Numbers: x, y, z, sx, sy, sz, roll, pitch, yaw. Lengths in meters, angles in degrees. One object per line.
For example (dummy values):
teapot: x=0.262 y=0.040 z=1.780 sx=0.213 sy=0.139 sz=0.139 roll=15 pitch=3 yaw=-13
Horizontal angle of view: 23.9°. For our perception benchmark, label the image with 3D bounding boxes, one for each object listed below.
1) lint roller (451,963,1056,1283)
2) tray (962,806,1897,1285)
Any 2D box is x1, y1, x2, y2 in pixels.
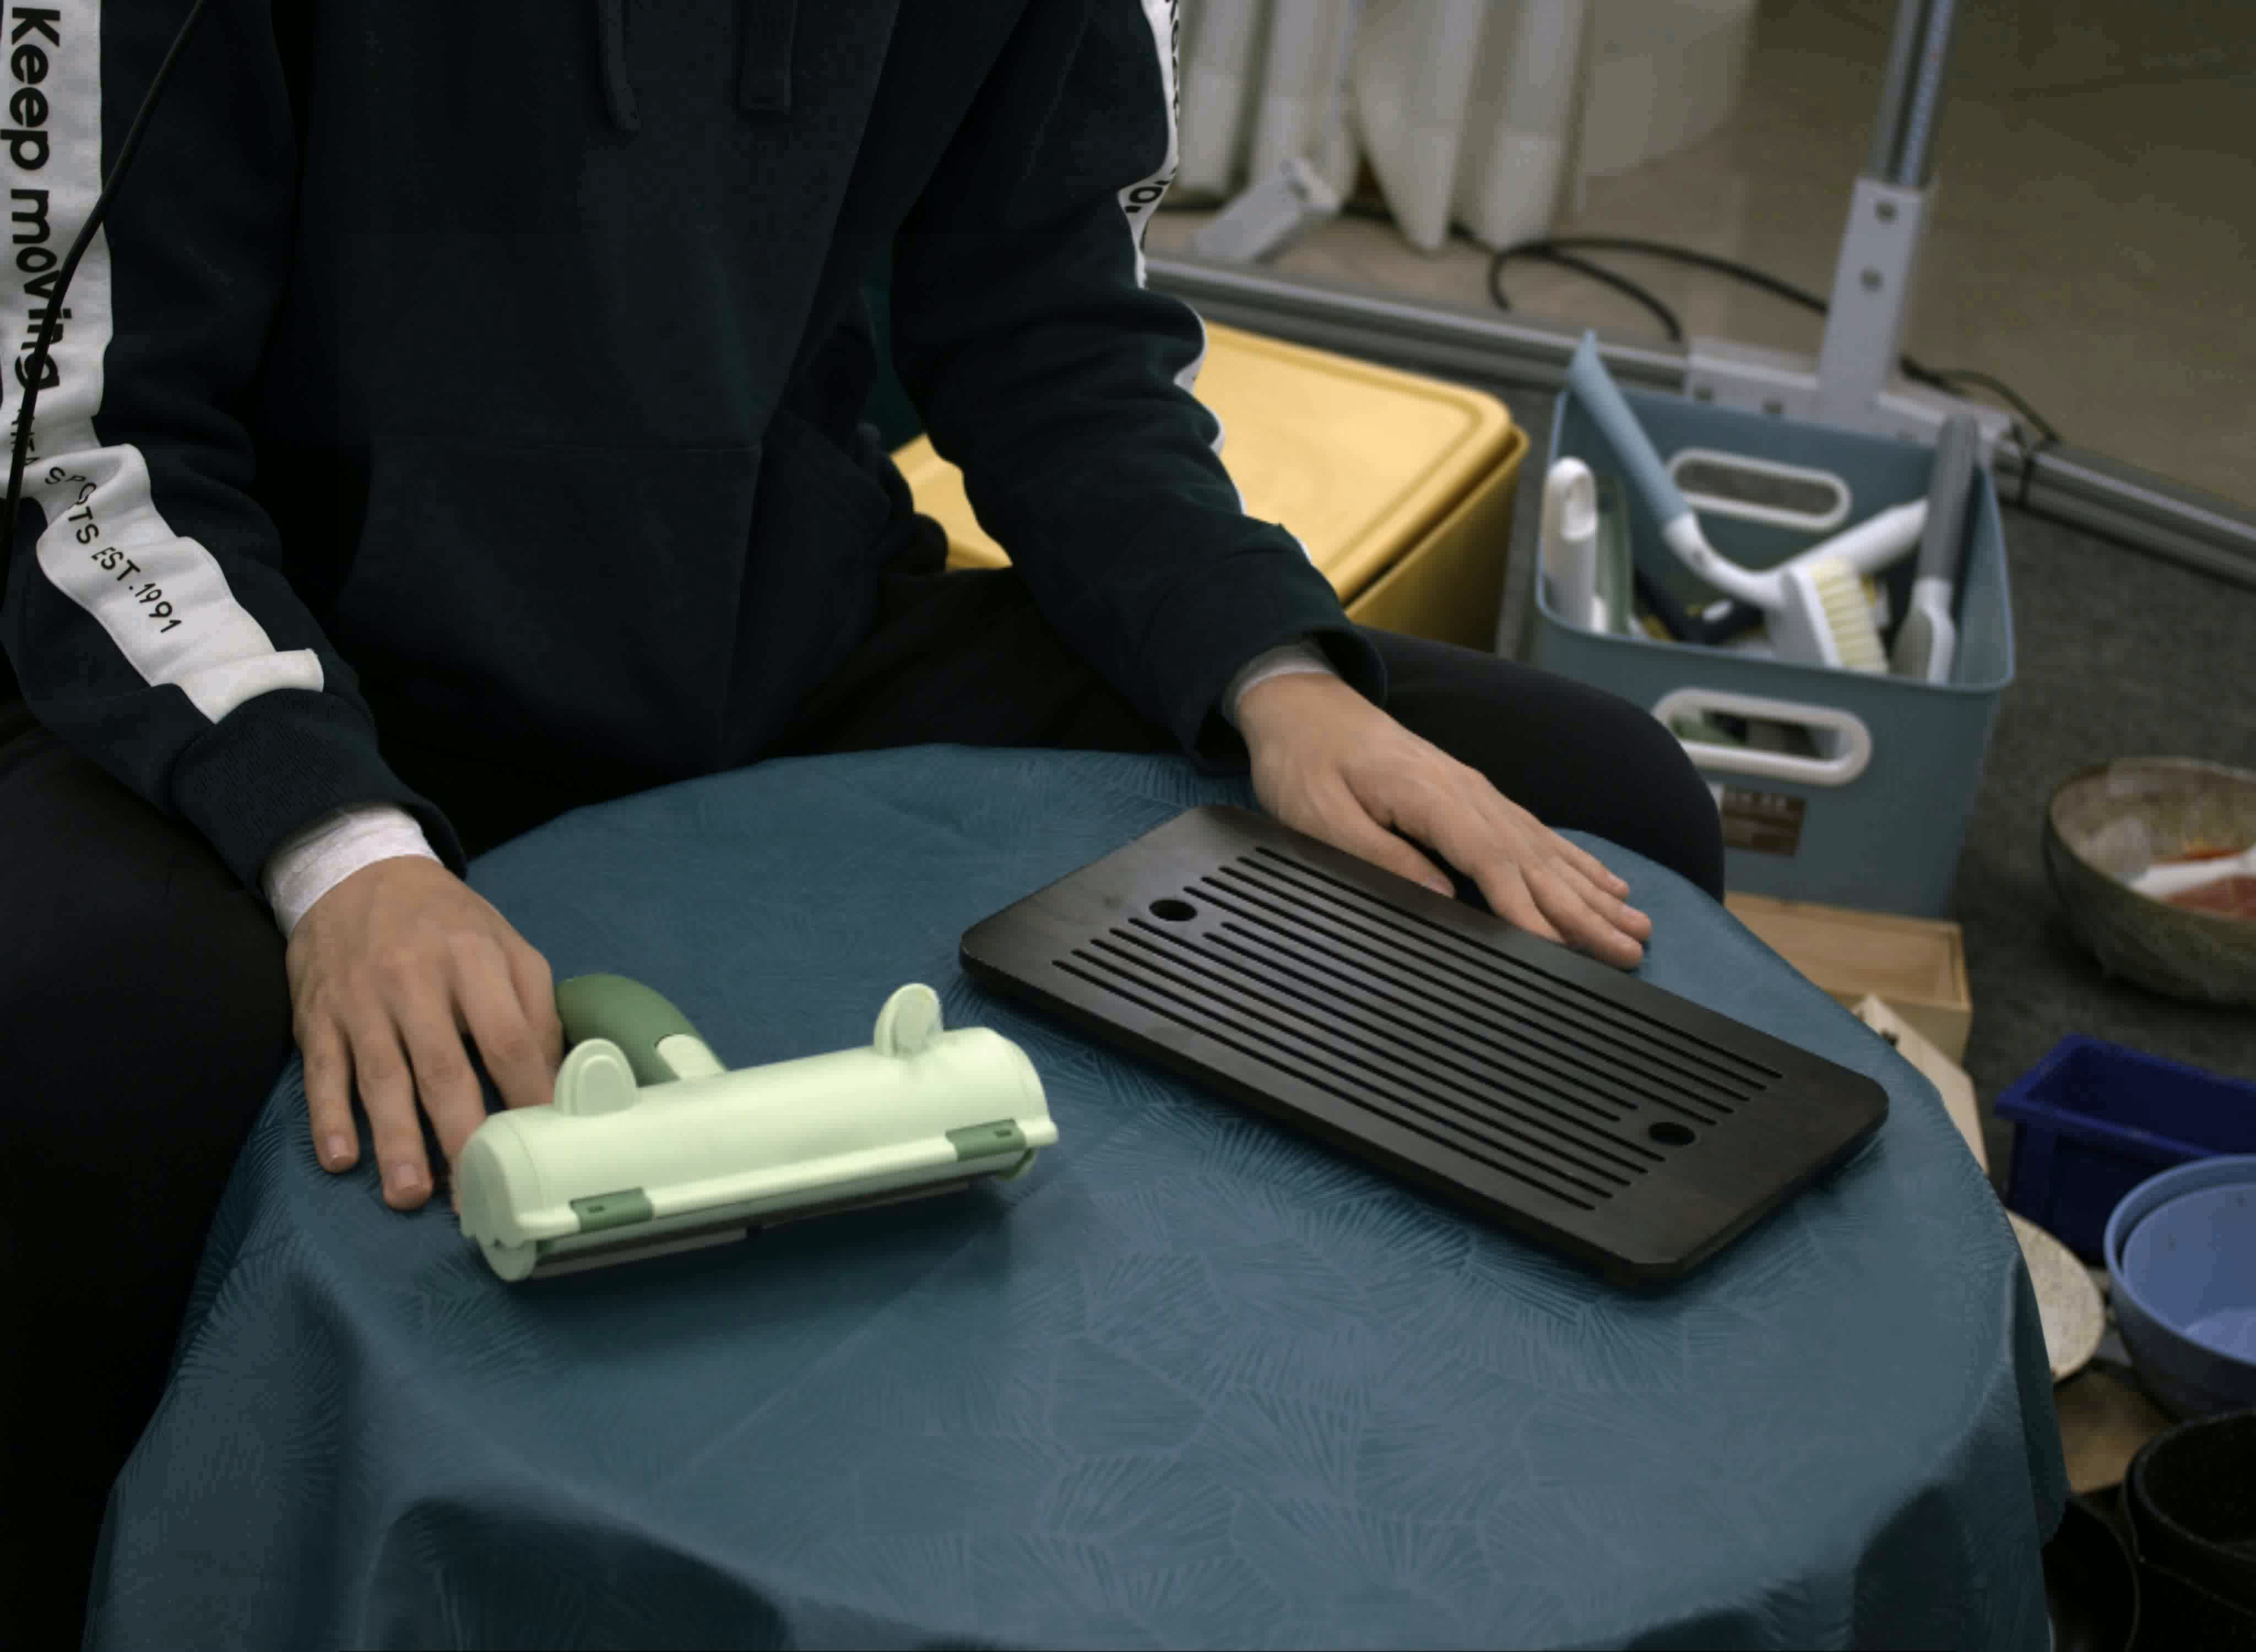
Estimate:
lint roller: x=-0.148 y=0.073 z=1.777 sx=0.197 sy=0.082 sz=0.185 roll=-9 pitch=34 yaw=-28
tray: x=0.105 y=0.075 z=1.898 sx=0.308 sy=0.018 sz=0.169 roll=23 pitch=32 yaw=30
